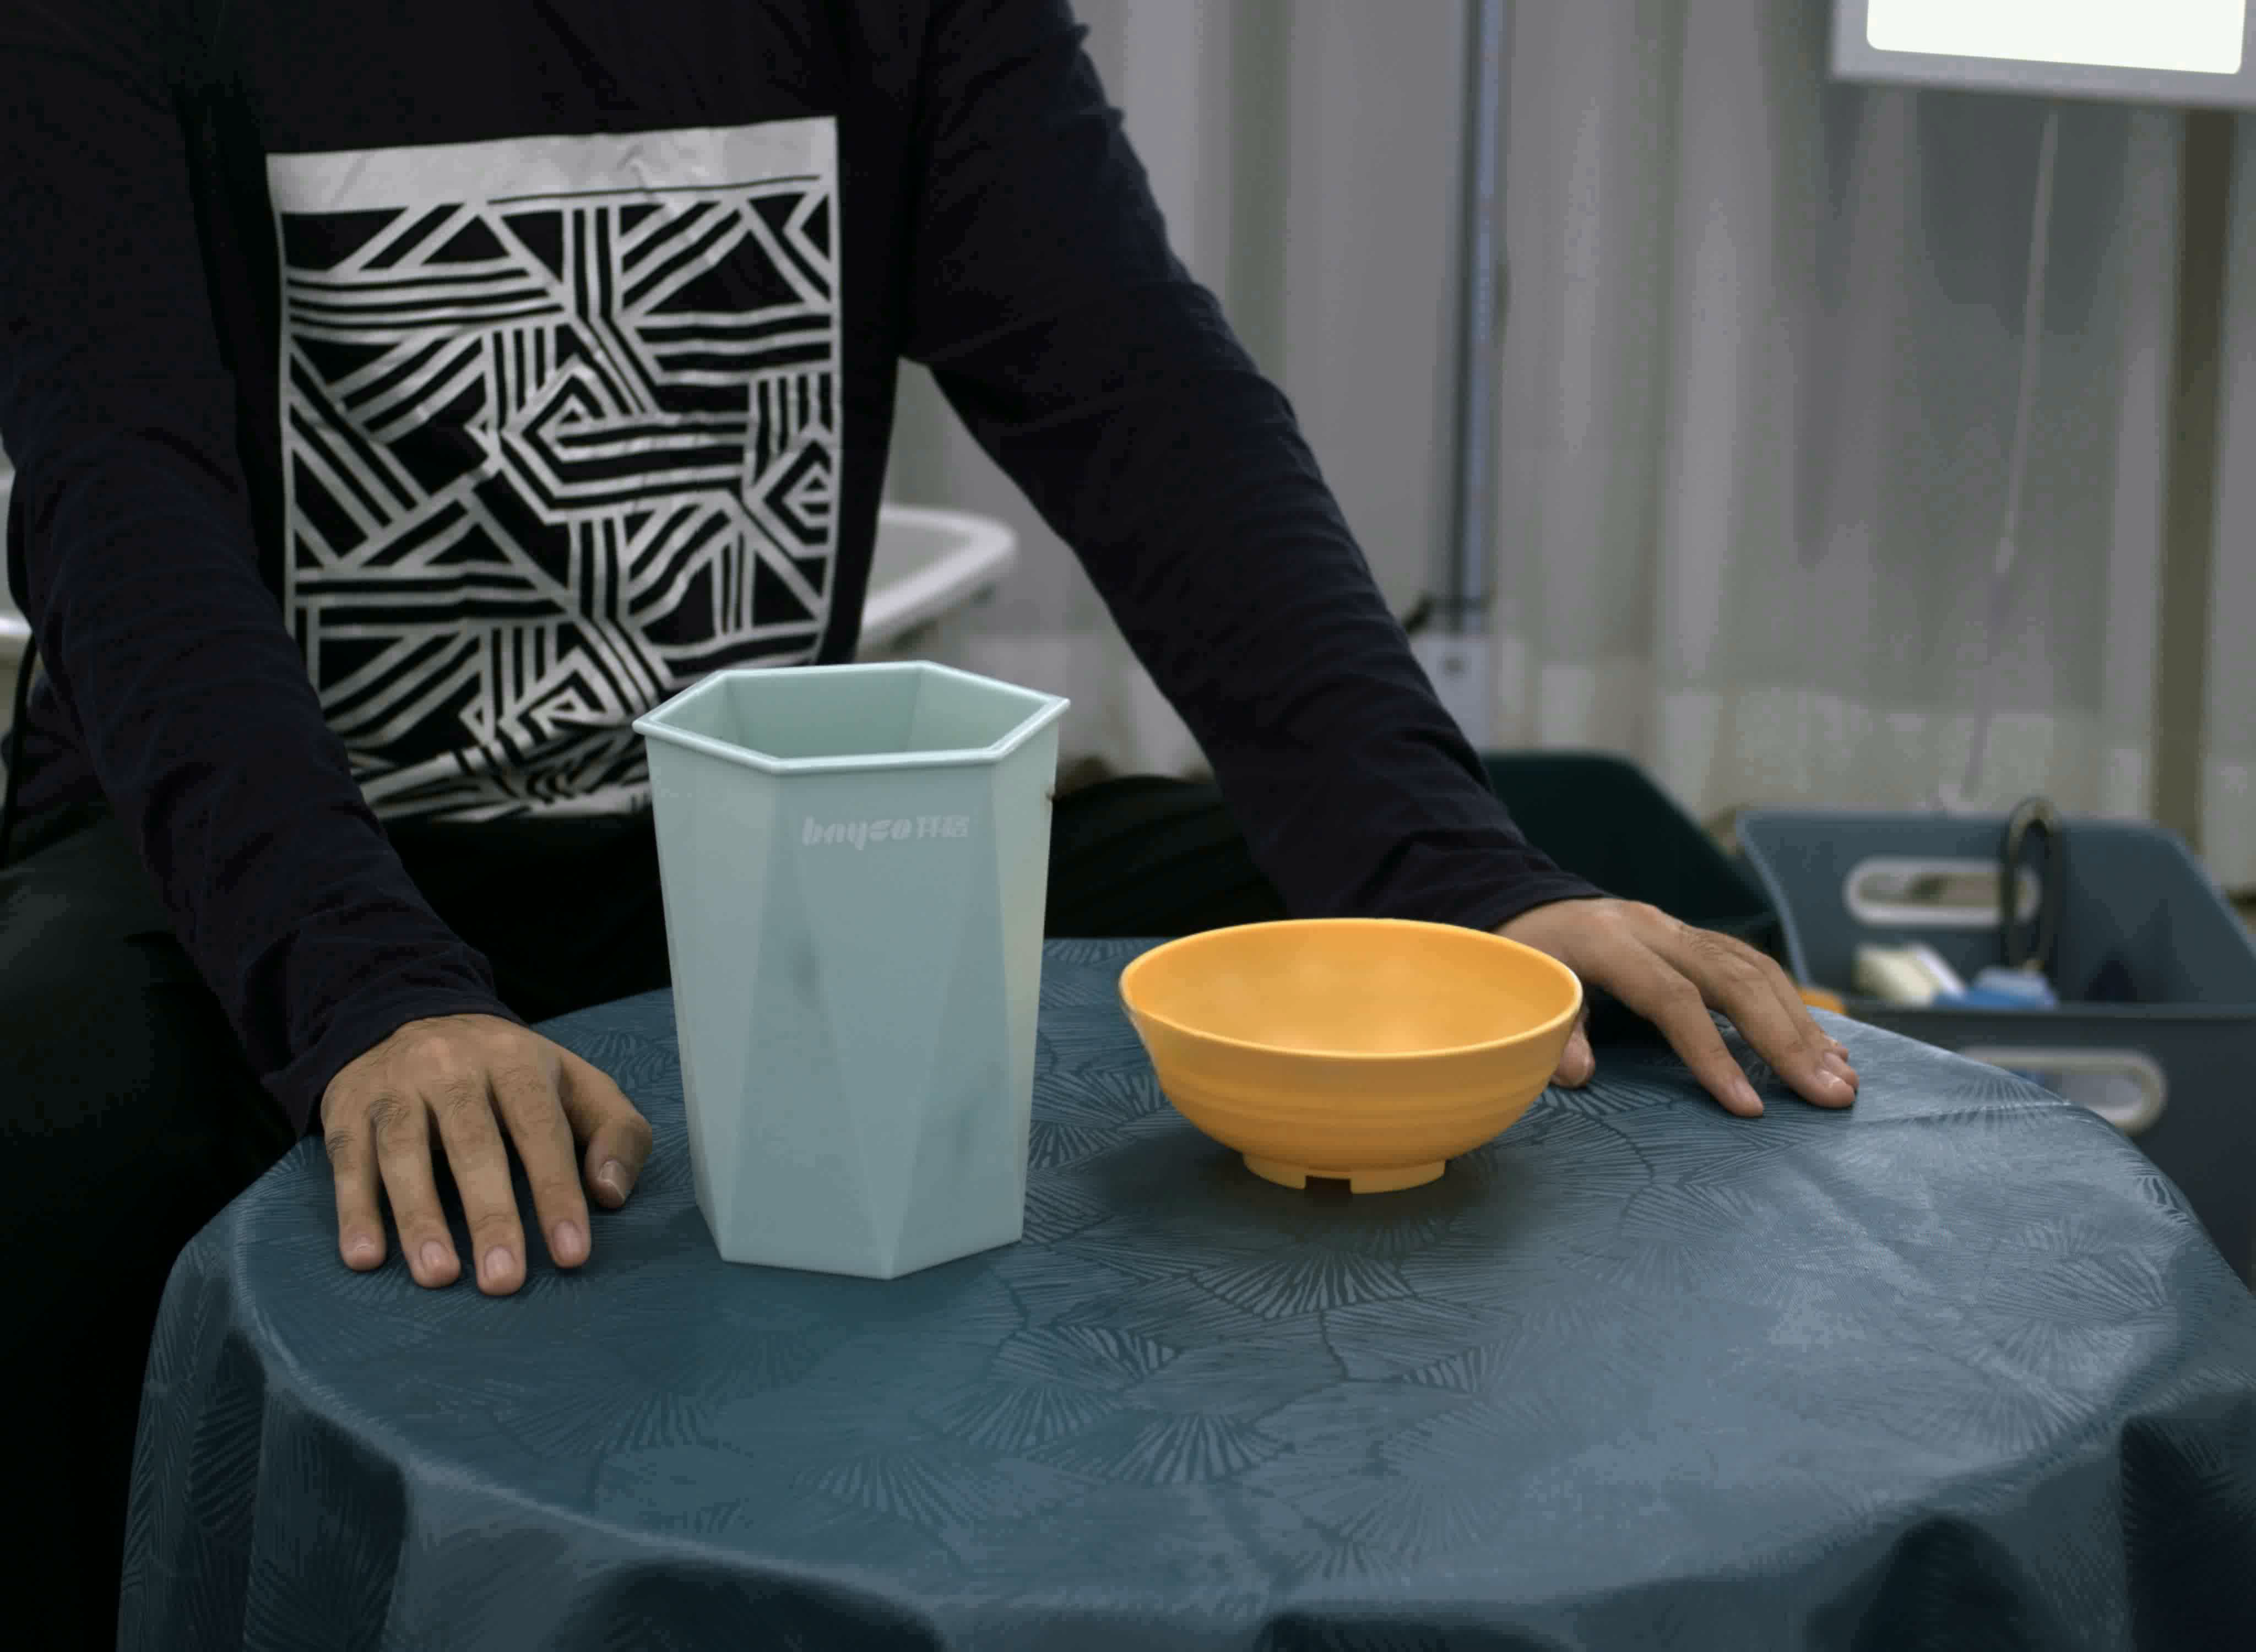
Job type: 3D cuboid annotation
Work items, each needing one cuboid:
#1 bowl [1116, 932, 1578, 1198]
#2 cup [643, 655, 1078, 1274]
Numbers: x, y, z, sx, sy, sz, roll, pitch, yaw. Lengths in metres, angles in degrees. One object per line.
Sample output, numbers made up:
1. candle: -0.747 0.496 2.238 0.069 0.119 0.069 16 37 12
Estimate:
1. bowl: 0.068 0.079 1.650 0.145 0.060 0.144 1 13 0
2. cup: -0.079 0.041 1.572 0.131 0.164 0.114 -3 15 -14
